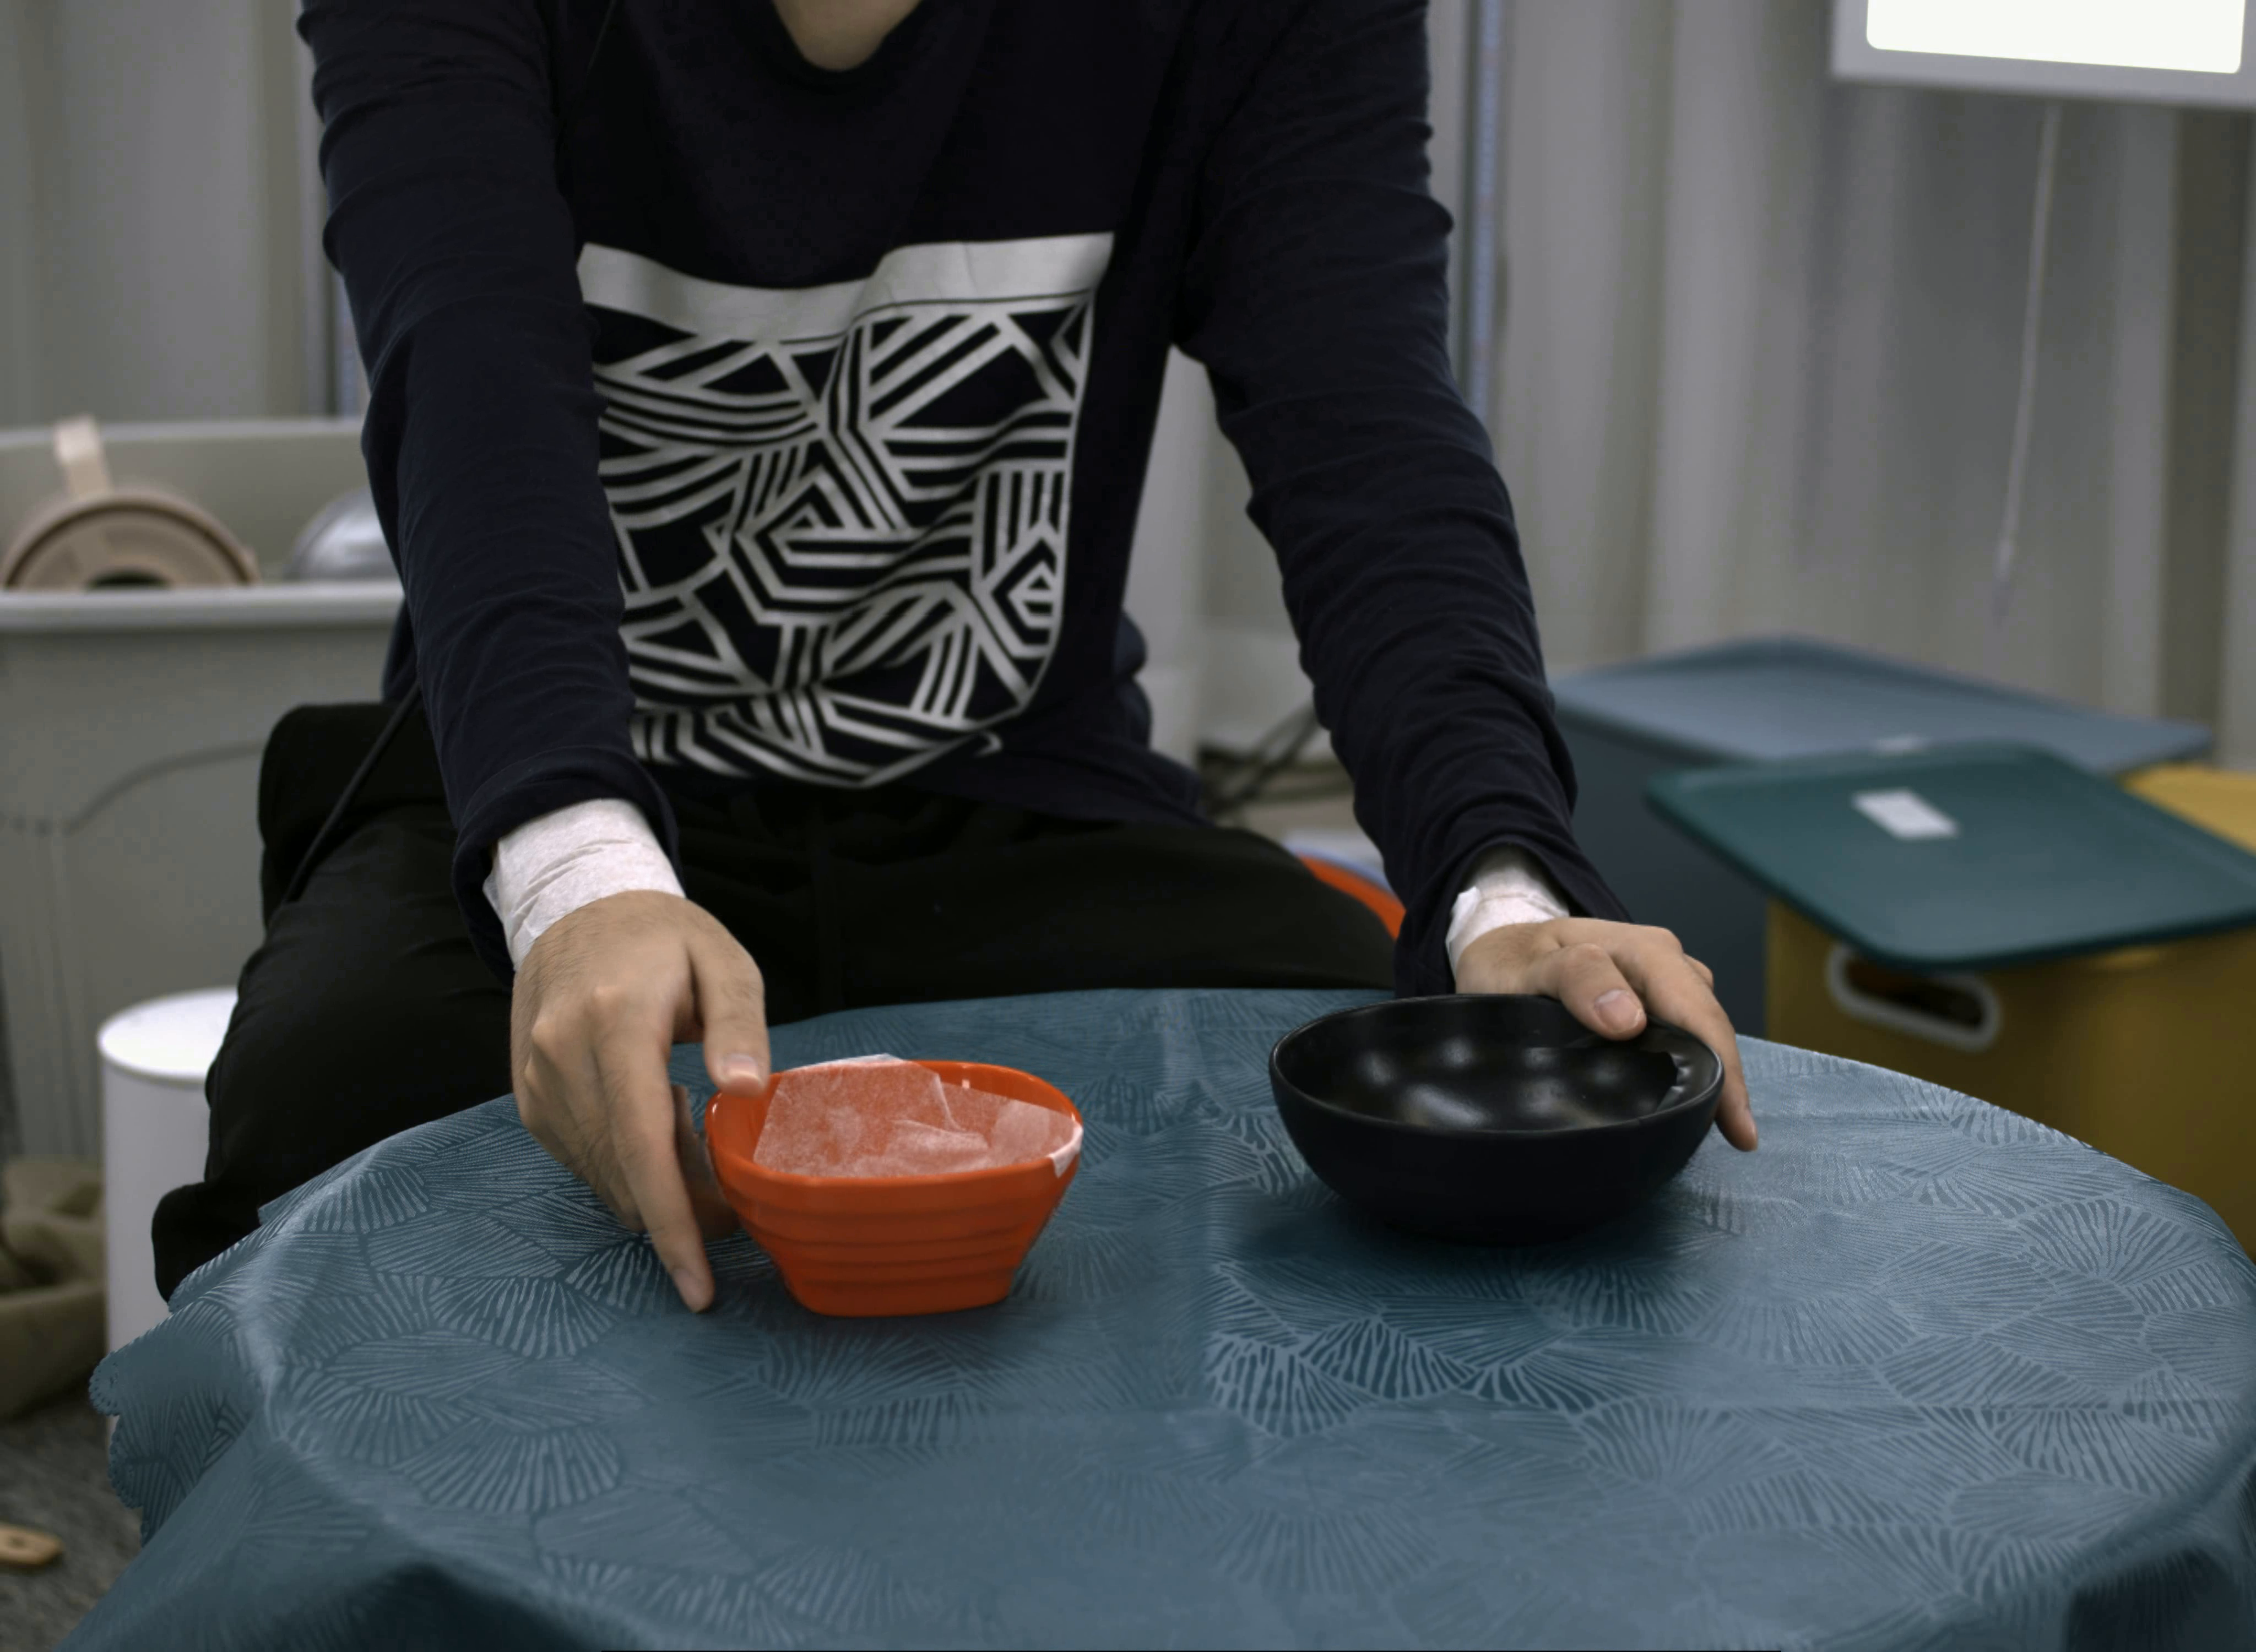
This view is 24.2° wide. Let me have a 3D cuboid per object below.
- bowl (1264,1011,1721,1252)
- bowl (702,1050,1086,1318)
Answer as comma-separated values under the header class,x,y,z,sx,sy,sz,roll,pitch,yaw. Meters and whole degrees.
class,x,y,z,sx,sy,sz,roll,pitch,yaw
bowl,0.111,0.096,1.604,0.139,0.050,0.139,0,12,1
bowl,-0.069,0.107,1.542,0.118,0.052,0.118,0,18,1
